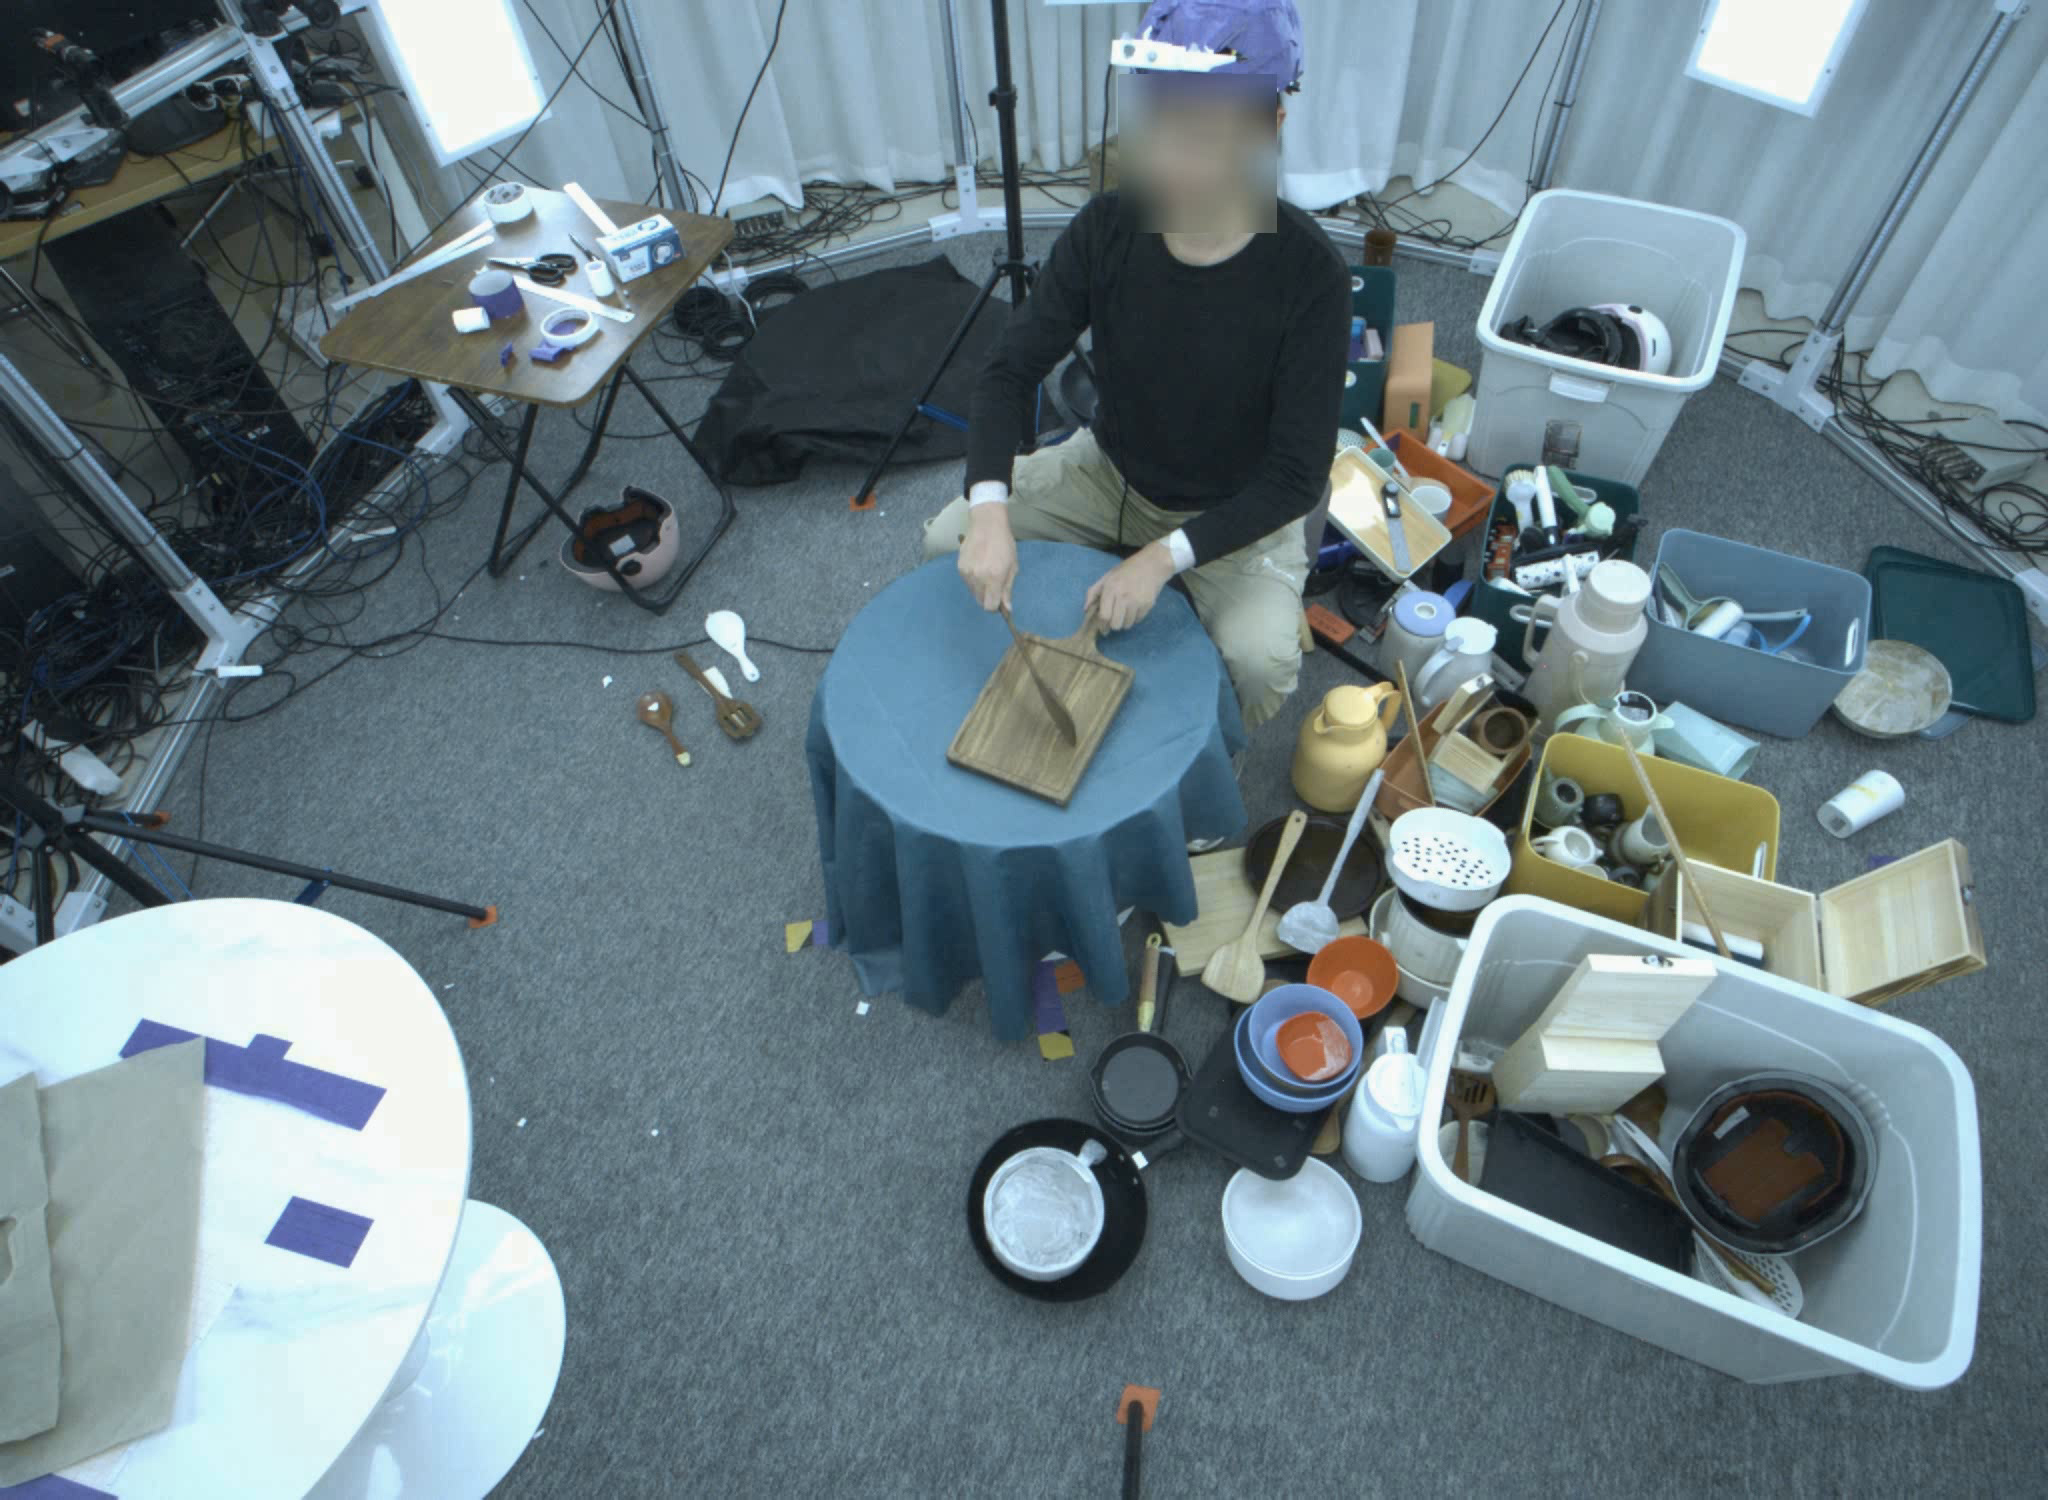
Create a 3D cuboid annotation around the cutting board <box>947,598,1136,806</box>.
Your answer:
[{"bbox_3d":[0.049,-0.091,1.822,0.198,0.023,0.352,21,63,16],"label":"cutting board"}]

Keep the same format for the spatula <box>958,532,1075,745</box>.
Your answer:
[{"bbox_3d":[-0.013,-0.172,1.785,0.016,0.097,0.381,-25,69,-7],"label":"spatula"}]
